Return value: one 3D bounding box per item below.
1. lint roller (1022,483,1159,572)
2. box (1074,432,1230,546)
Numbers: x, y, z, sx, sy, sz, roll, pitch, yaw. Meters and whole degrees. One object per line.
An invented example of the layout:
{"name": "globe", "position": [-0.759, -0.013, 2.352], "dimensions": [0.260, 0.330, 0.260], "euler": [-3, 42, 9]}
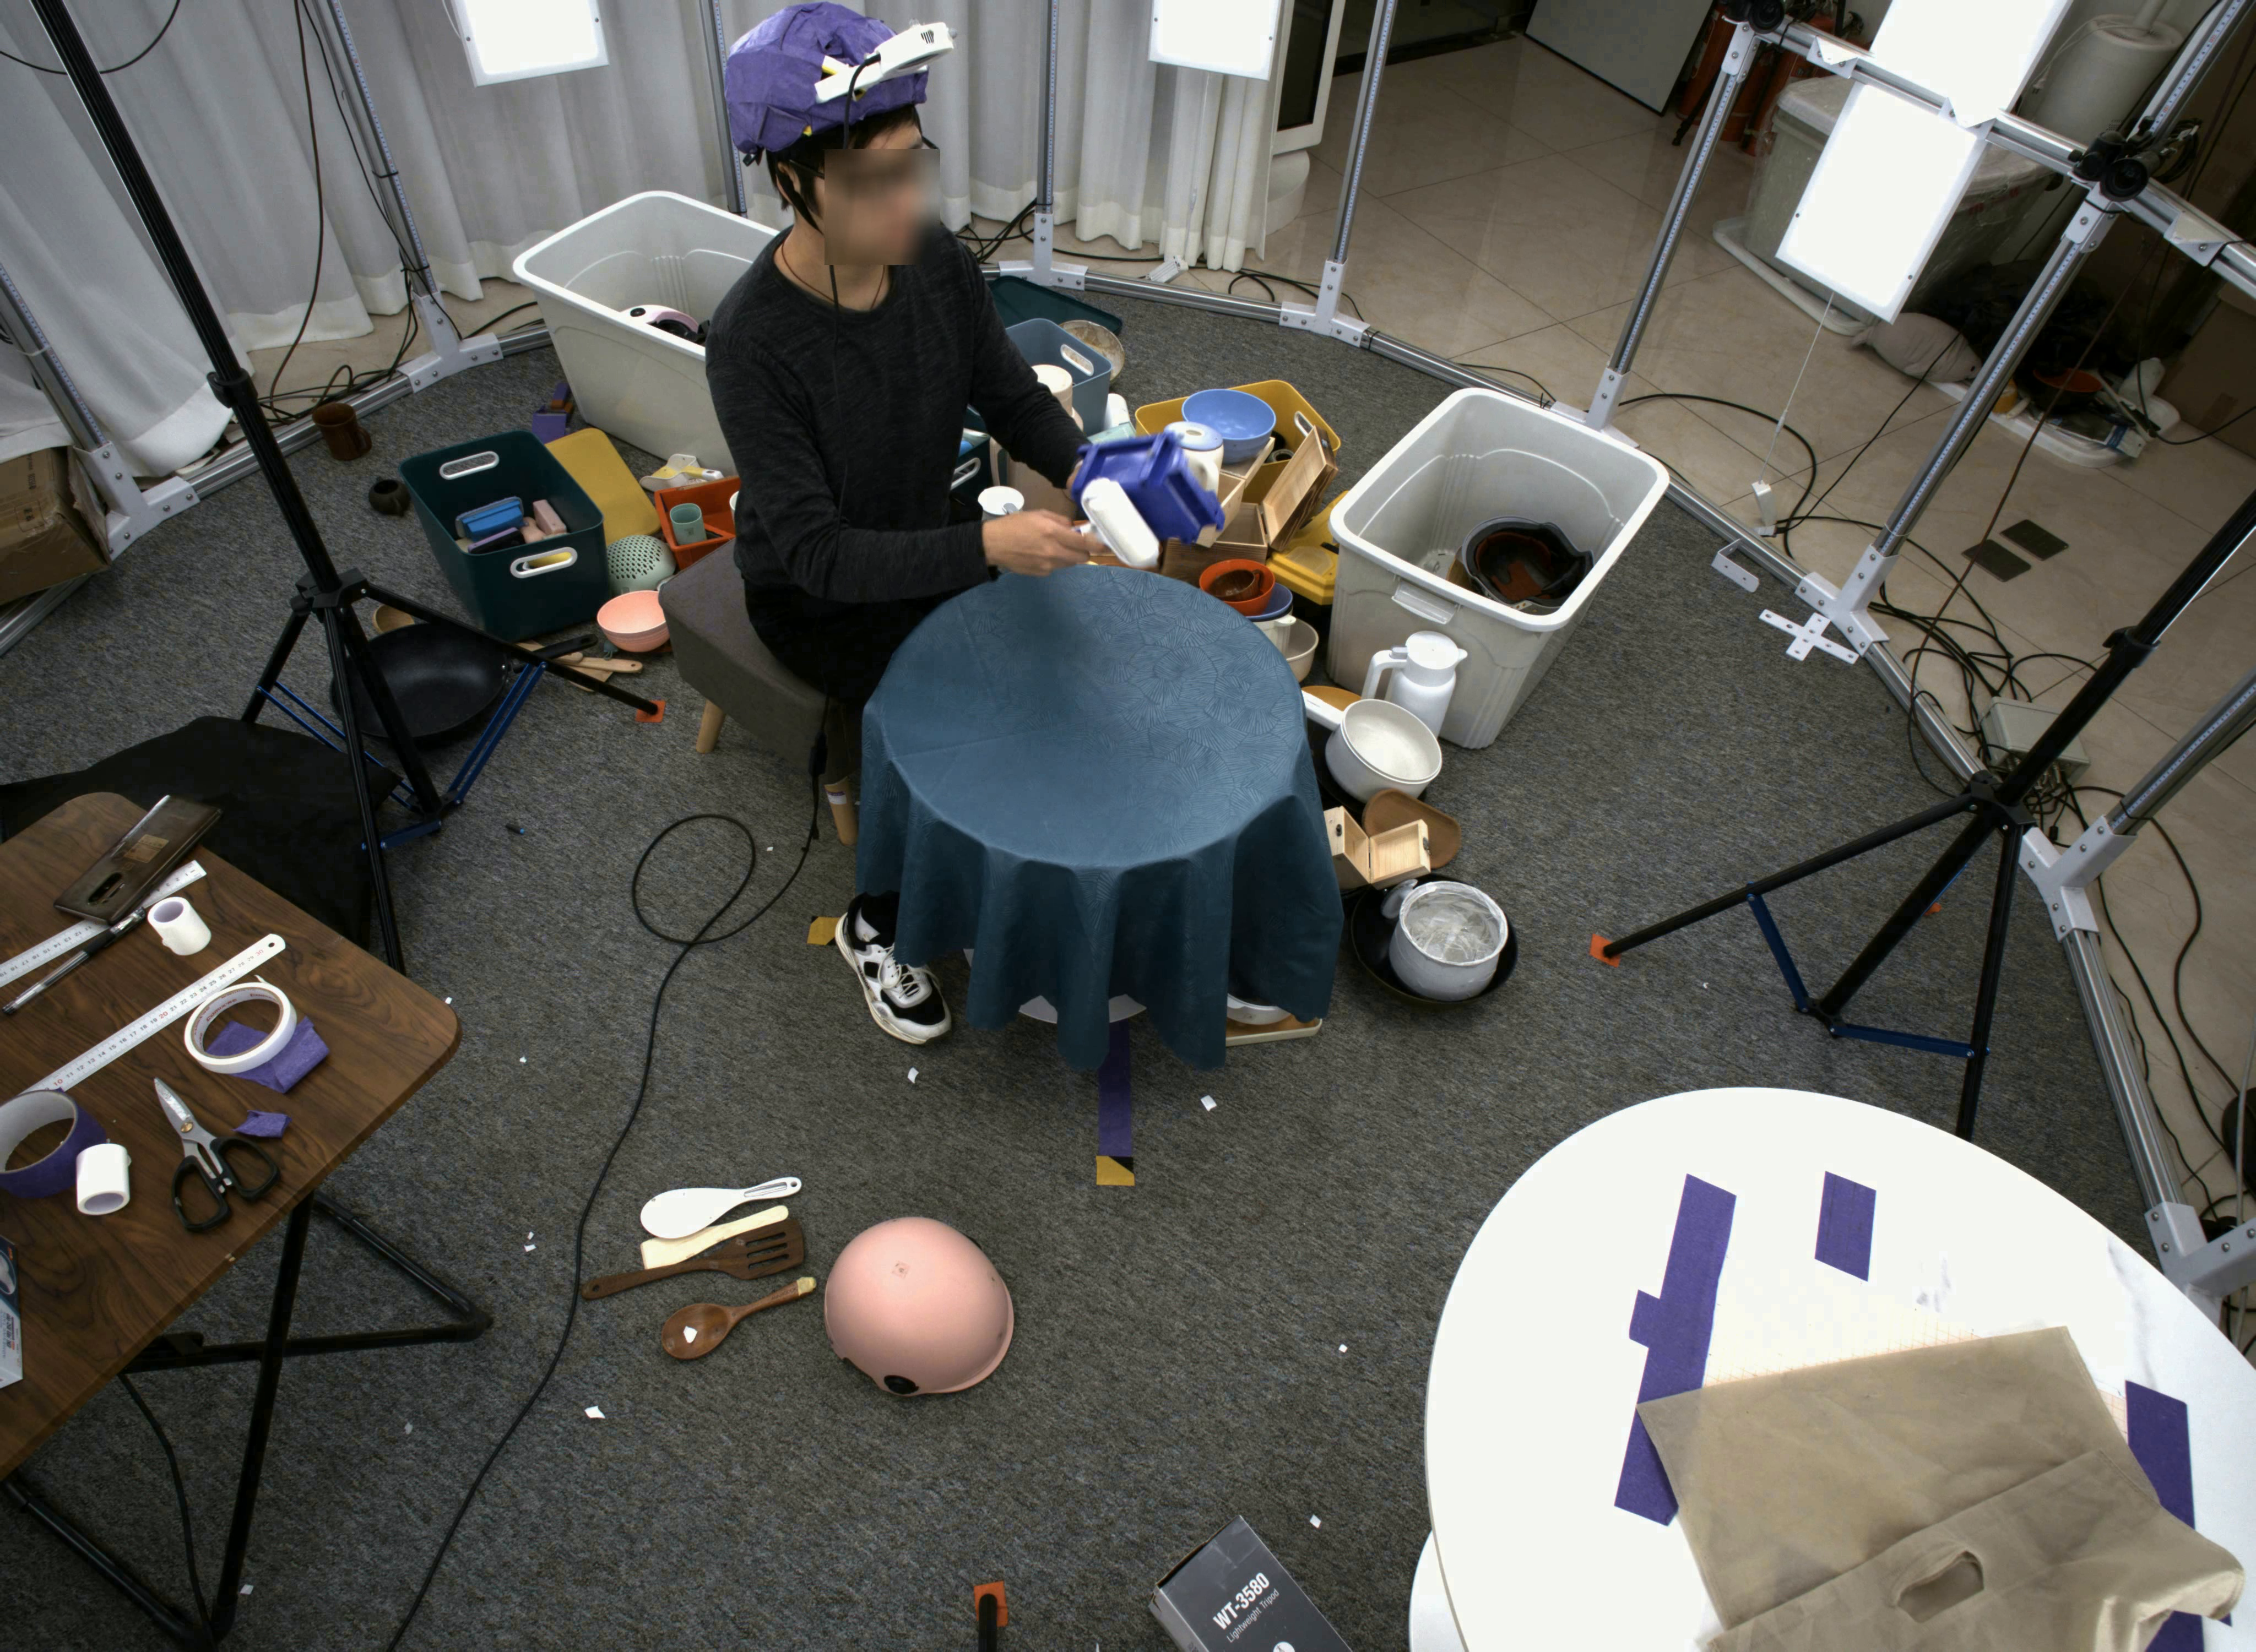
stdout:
{"name": "lint roller", "position": [-0.062, -0.356, 1.627], "dimensions": [0.180, 0.130, 0.051], "euler": [-15, 48, 25]}
{"name": "box", "position": [0.031, -0.417, 1.636], "dimensions": [0.180, 0.122, 0.083], "euler": [0, 60, 37]}
